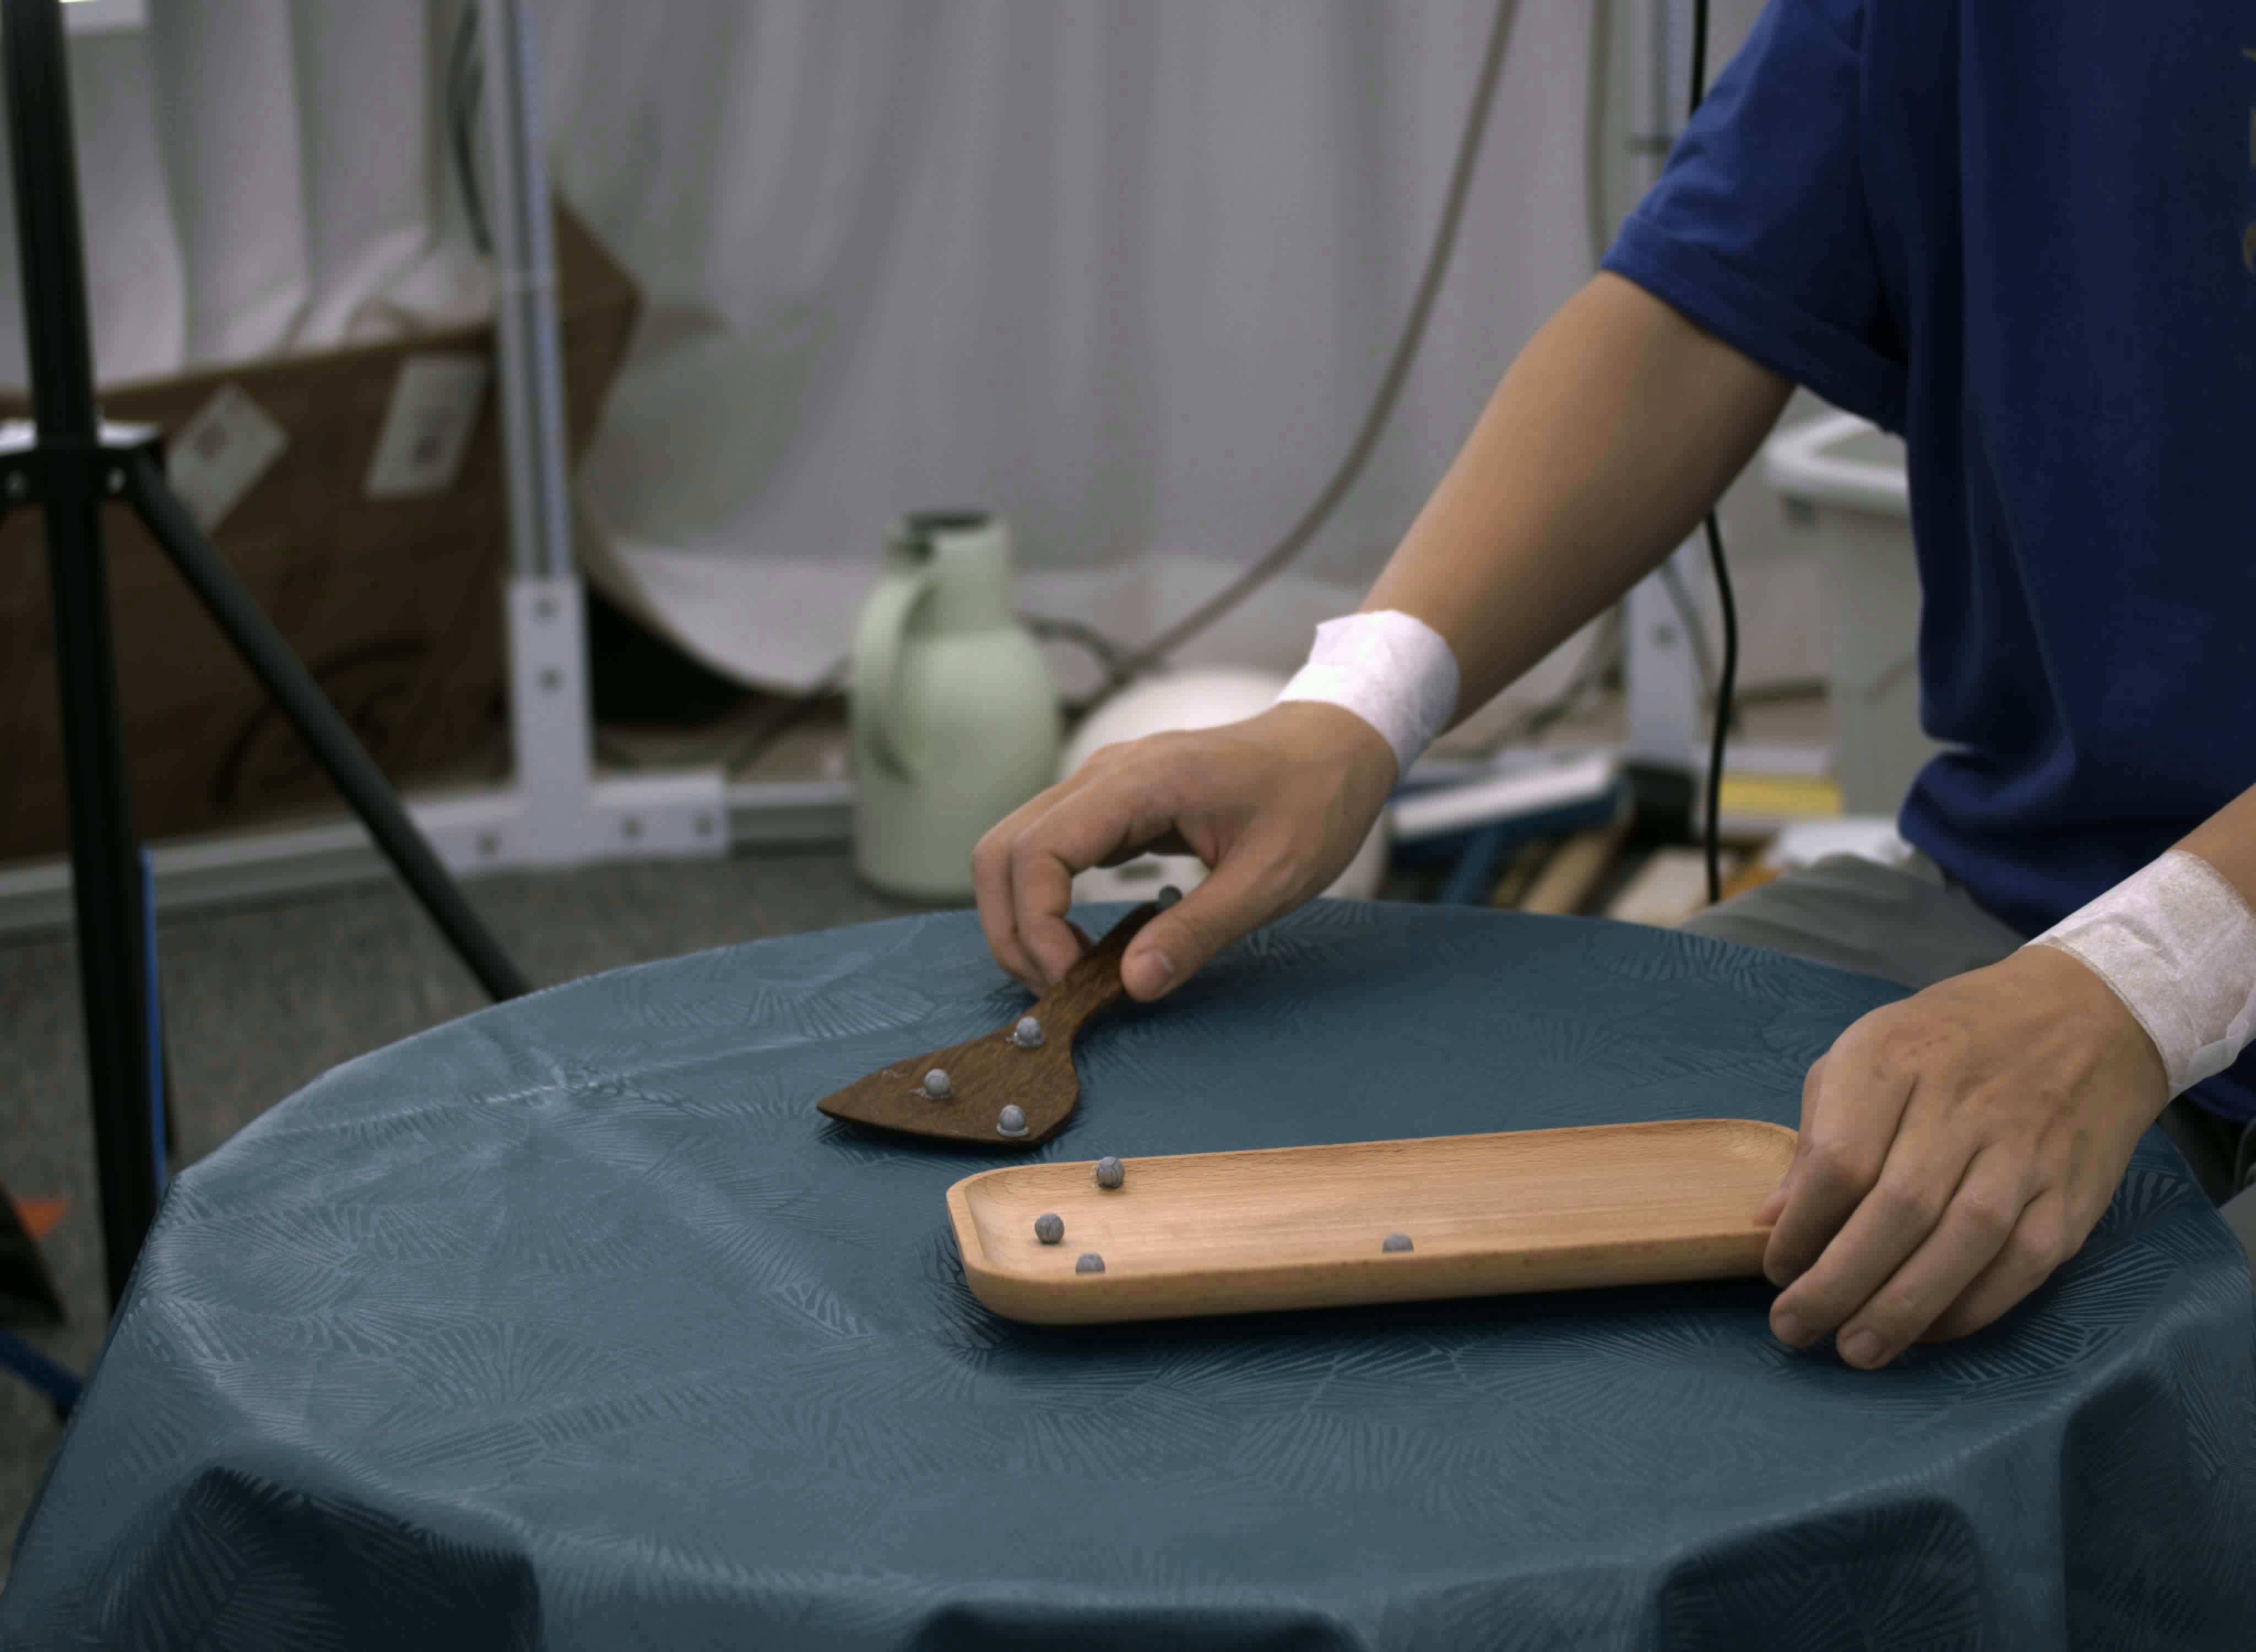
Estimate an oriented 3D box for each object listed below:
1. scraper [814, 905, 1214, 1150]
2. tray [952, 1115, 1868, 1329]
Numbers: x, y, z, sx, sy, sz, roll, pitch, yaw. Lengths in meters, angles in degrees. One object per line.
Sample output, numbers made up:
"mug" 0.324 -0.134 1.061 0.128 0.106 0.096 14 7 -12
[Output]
"scraper" -0.023 0.062 1.690 0.077 0.011 0.208 8 22 23
"tray" 0.077 0.111 1.490 0.249 0.023 0.131 -3 14 -3
